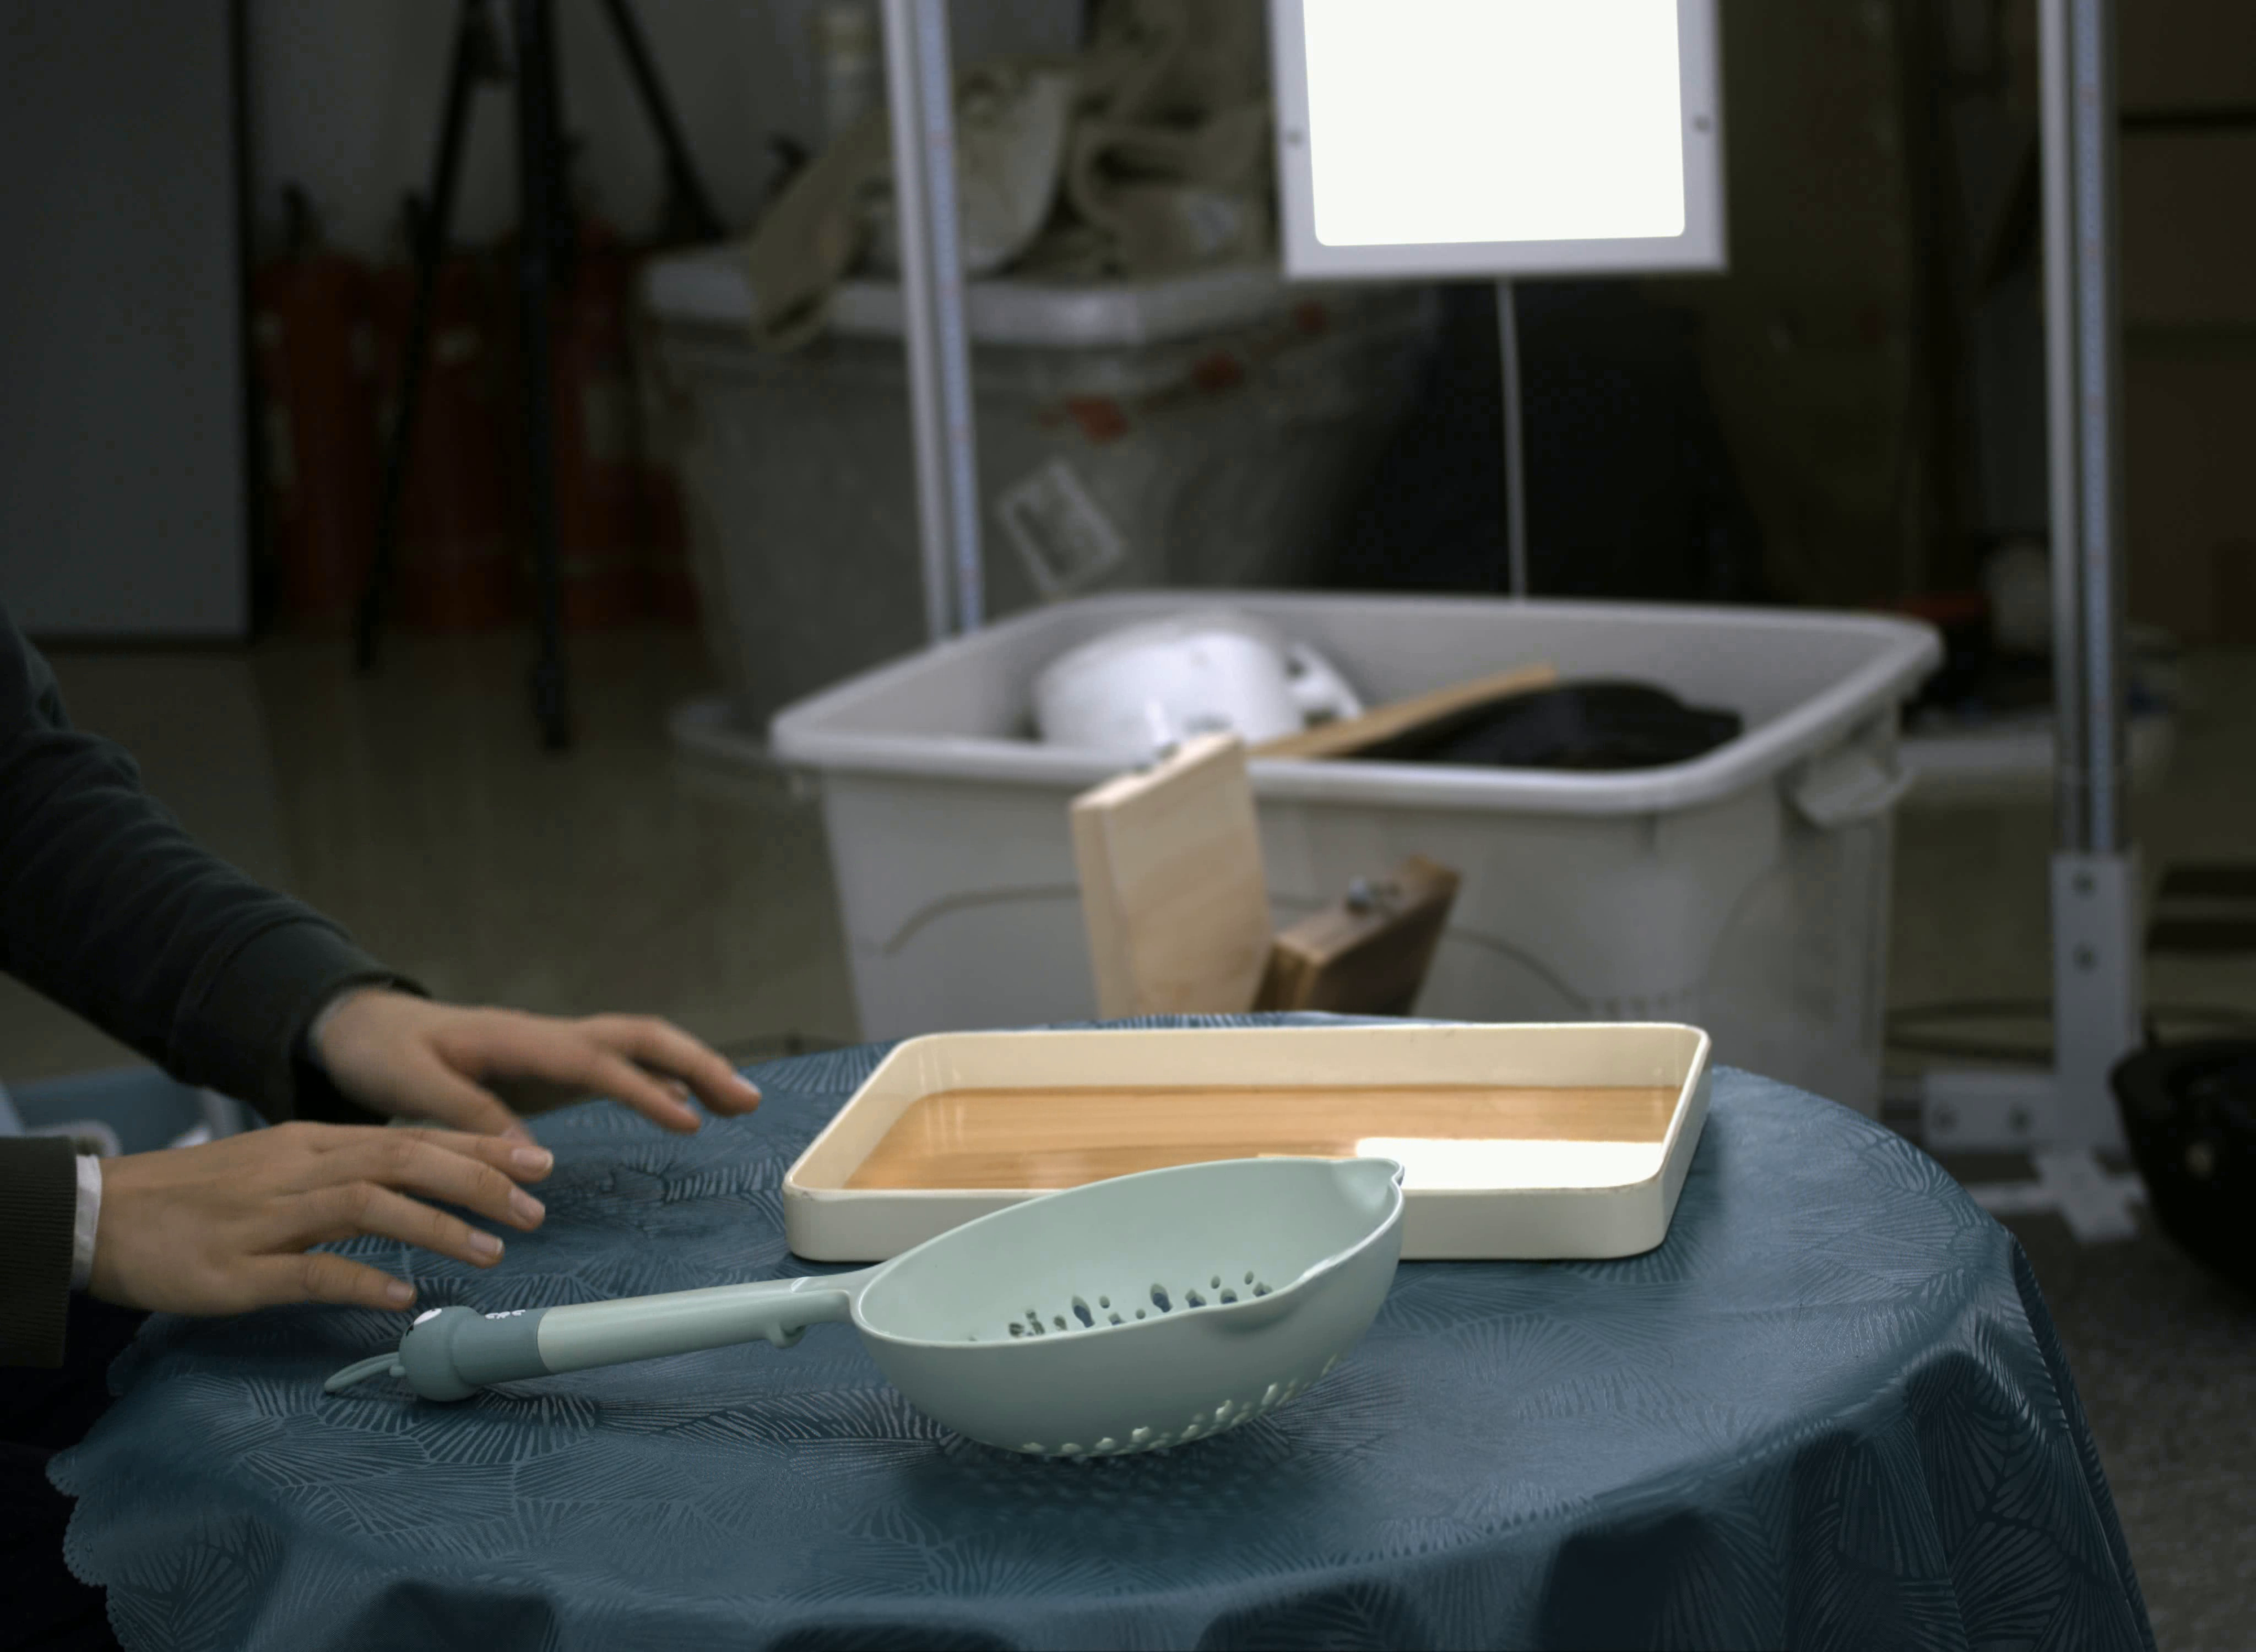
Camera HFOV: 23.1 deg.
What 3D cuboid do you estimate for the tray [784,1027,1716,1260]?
[{"bbox_3d":[0.046,0.109,1.899,0.303,0.027,0.189,-1,14,15],"label":"tray"}]

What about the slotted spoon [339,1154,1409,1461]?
[{"bbox_3d":[-0.086,0.150,1.695,0.364,0.075,0.166,1,14,22],"label":"slotted spoon"}]
